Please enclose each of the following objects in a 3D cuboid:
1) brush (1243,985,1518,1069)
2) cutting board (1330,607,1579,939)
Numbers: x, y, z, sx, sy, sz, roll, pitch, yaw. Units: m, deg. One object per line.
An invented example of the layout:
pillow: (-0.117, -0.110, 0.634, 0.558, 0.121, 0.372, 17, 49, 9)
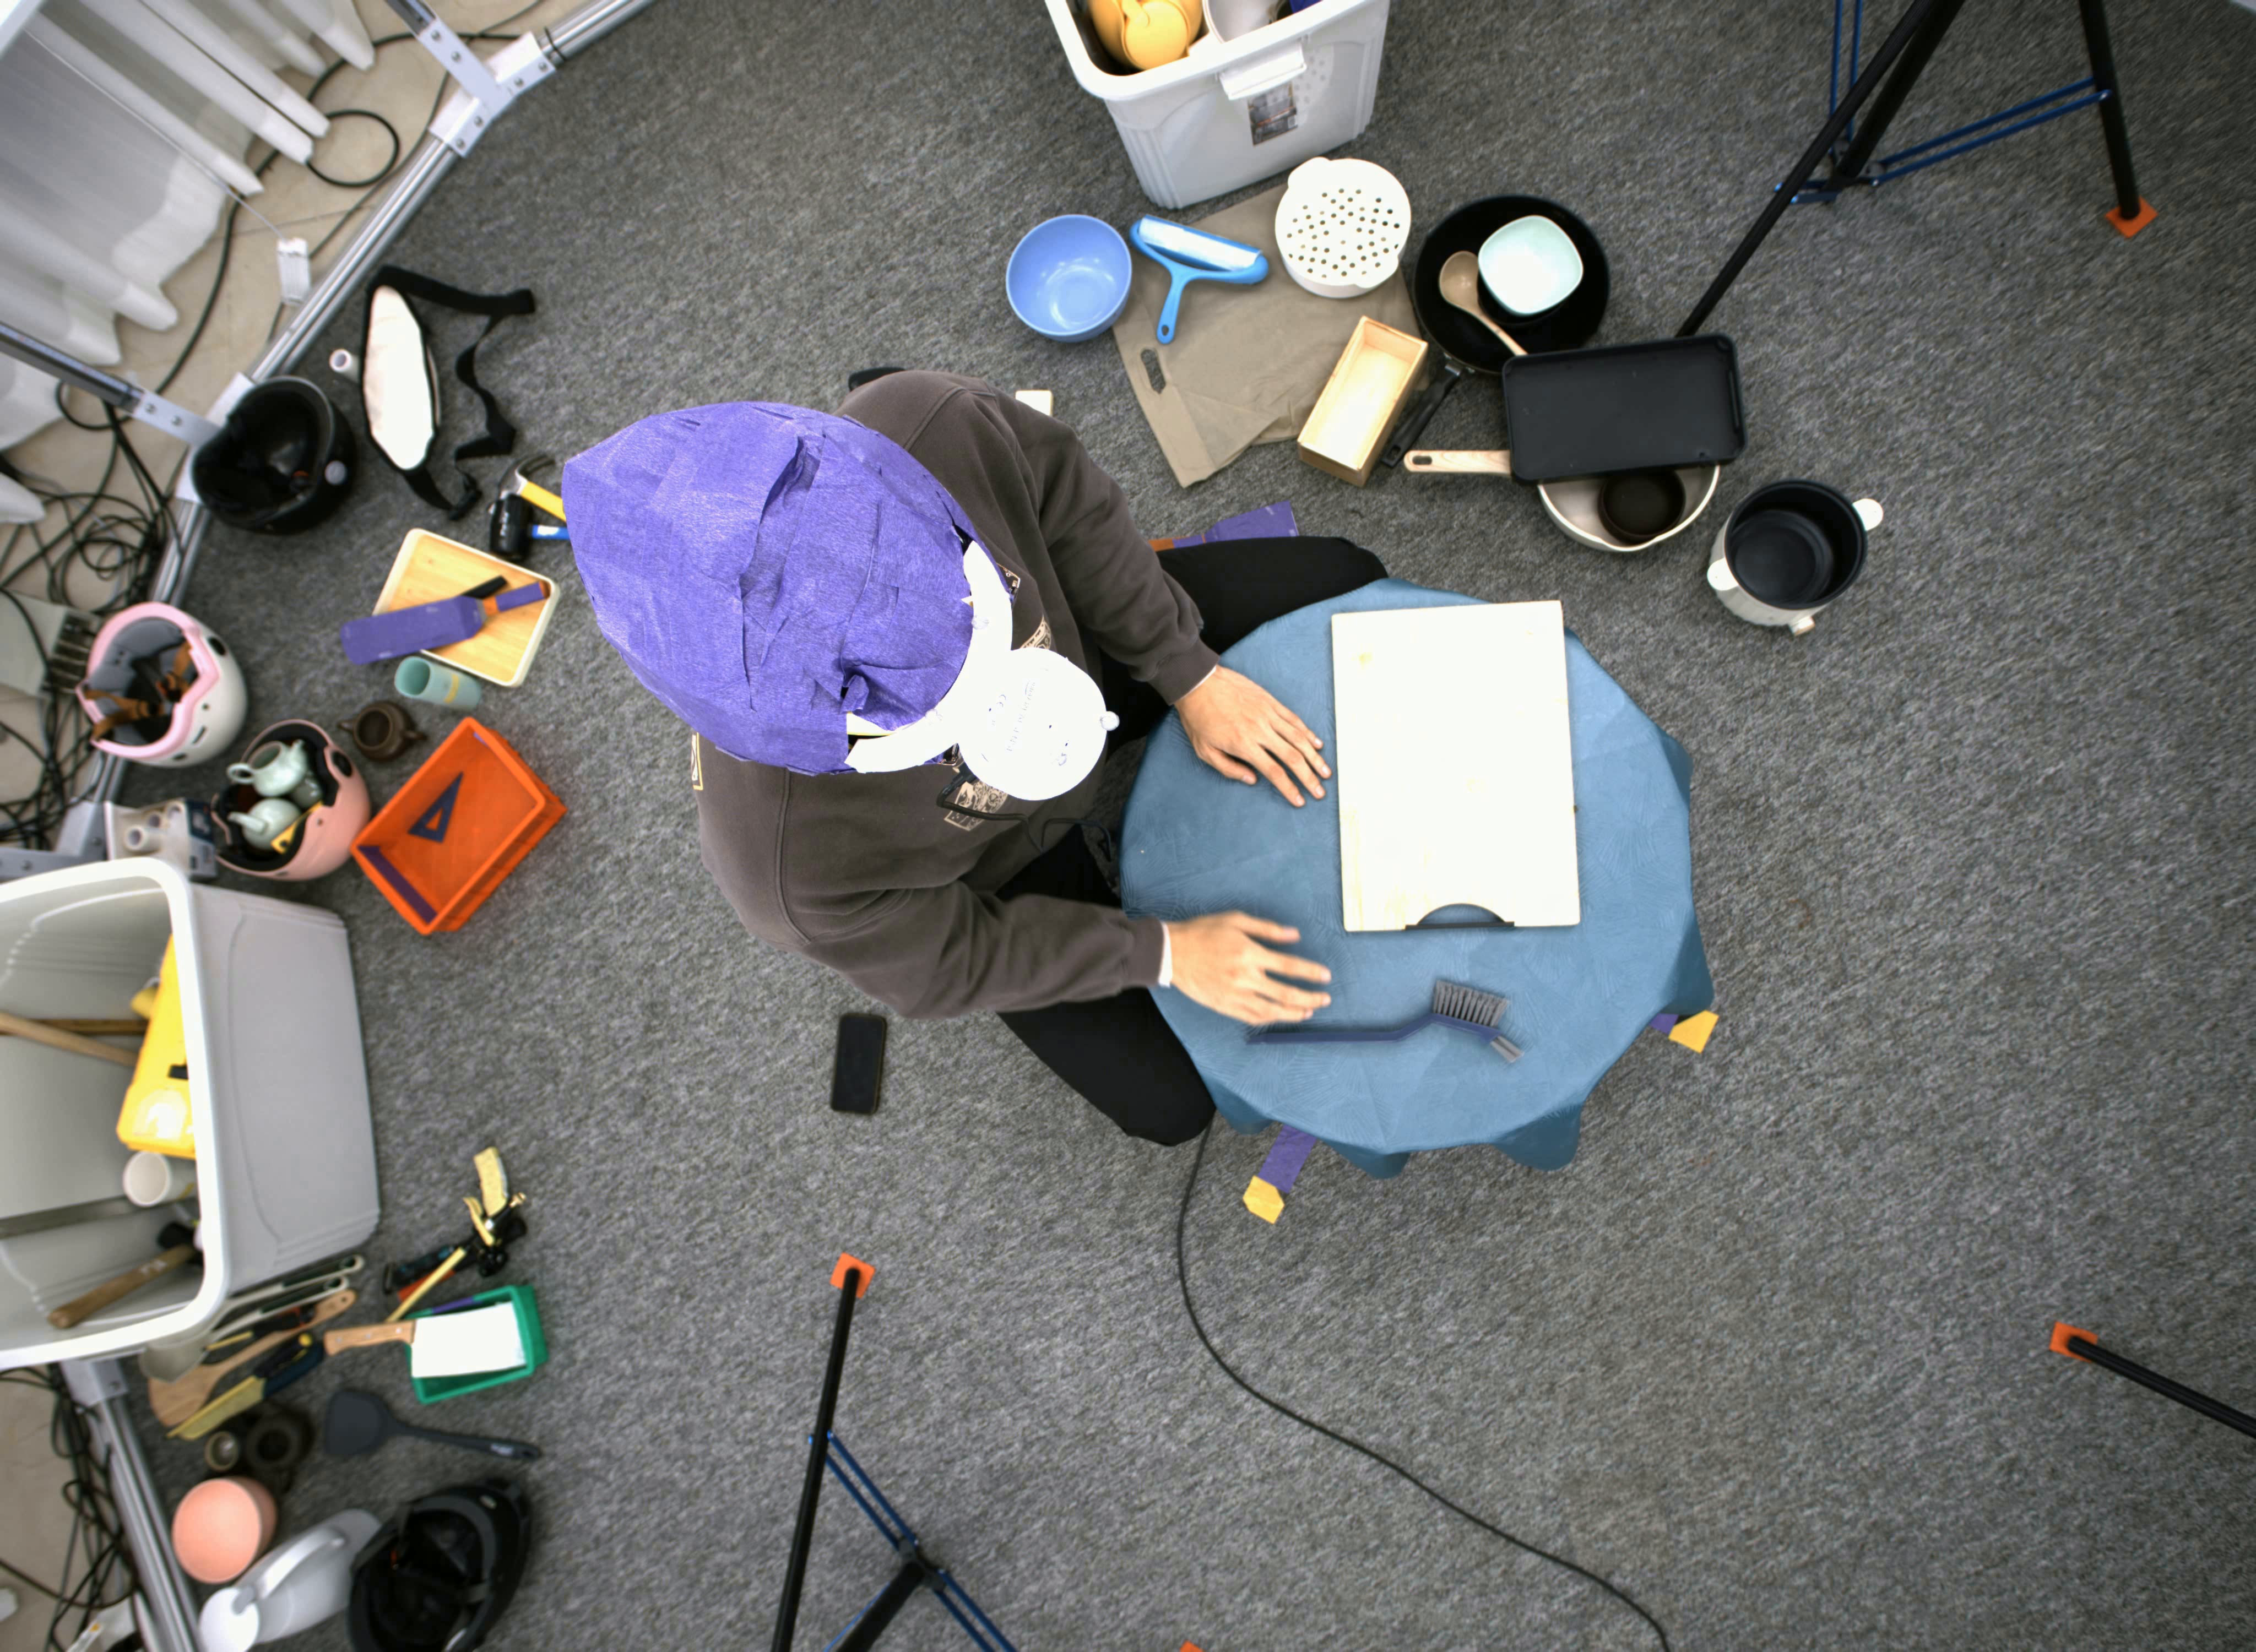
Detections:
brush: (0.260, 0.222, 1.437, 0.274, 0.033, 0.095, -10, 85, 9)
cutting board: (0.340, -0.059, 1.443, 0.252, 0.023, 0.347, -3, 87, 11)
